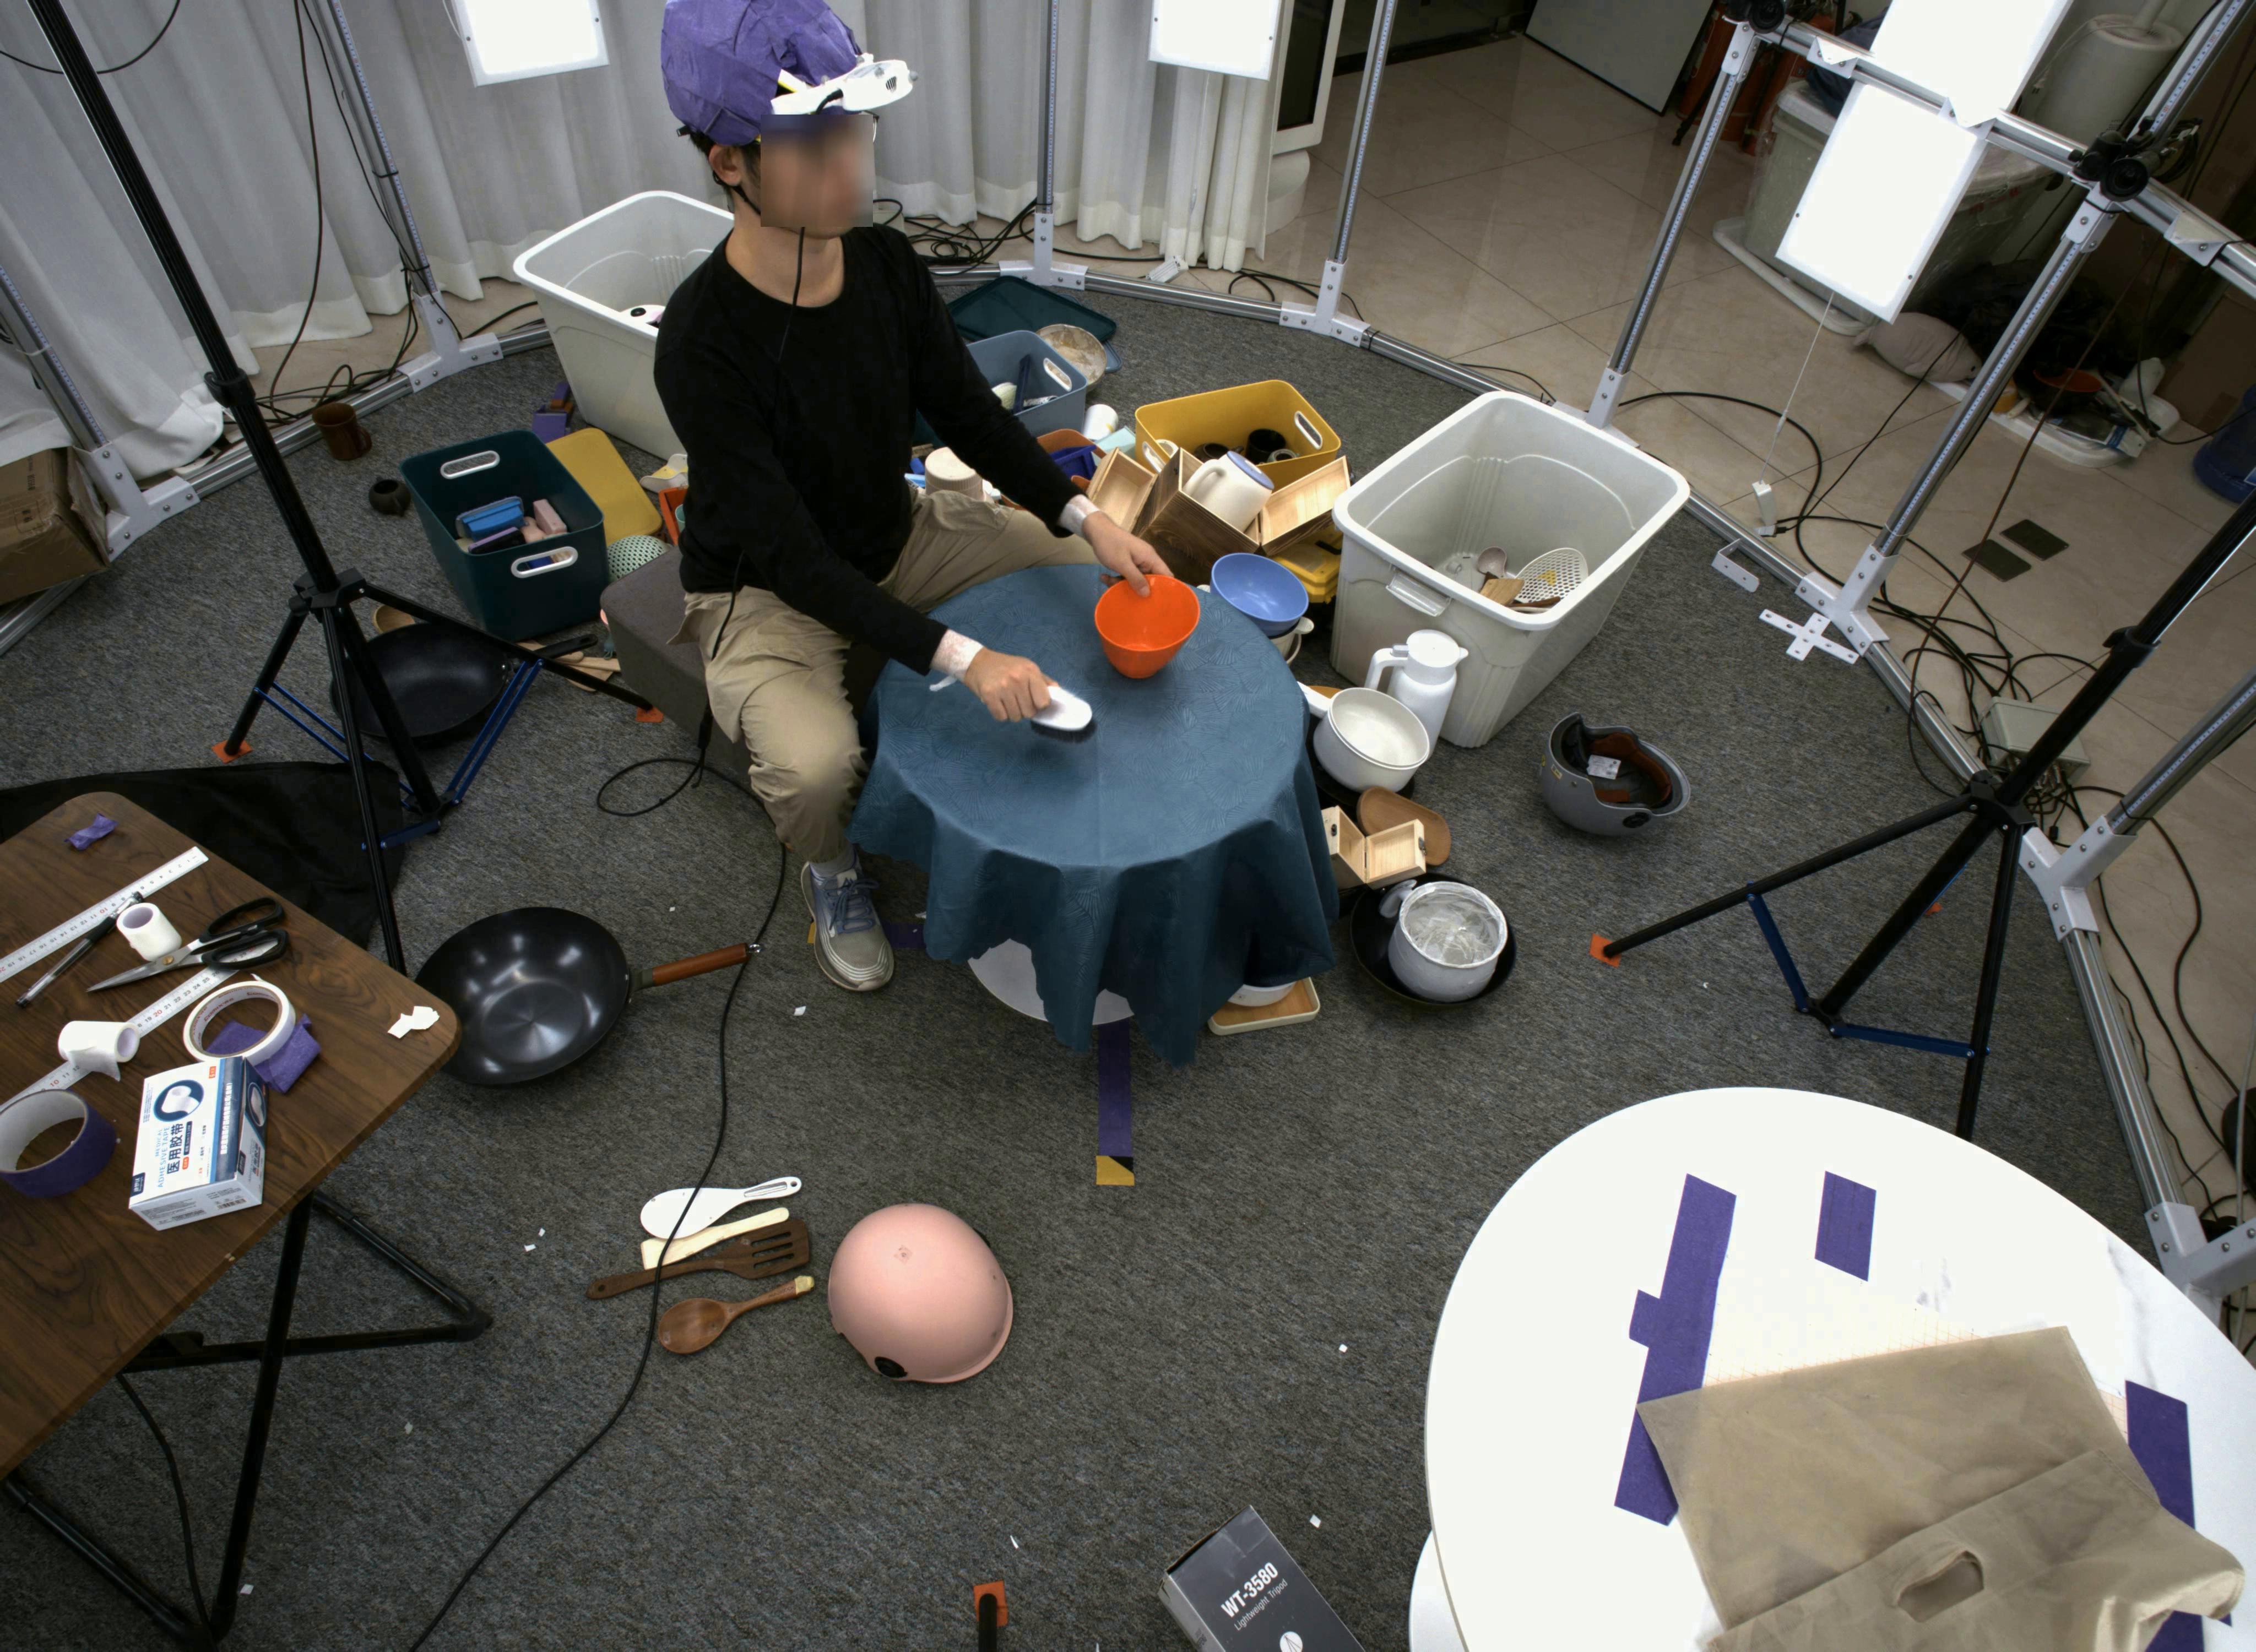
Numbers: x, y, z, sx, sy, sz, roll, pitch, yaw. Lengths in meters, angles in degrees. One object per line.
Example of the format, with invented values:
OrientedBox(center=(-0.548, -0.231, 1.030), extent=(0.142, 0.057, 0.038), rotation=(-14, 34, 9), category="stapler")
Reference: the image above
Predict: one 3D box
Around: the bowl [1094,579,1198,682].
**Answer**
OrientedBox(center=(0.024, -0.272, 1.845), extent=(0.148, 0.102, 0.152), rotation=(1, 47, -1), category="bowl")

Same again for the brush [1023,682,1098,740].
OrientedBox(center=(-0.095, -0.160, 1.696), extent=(0.100, 0.071, 0.051), rotation=(18, 63, 30), category="brush")
